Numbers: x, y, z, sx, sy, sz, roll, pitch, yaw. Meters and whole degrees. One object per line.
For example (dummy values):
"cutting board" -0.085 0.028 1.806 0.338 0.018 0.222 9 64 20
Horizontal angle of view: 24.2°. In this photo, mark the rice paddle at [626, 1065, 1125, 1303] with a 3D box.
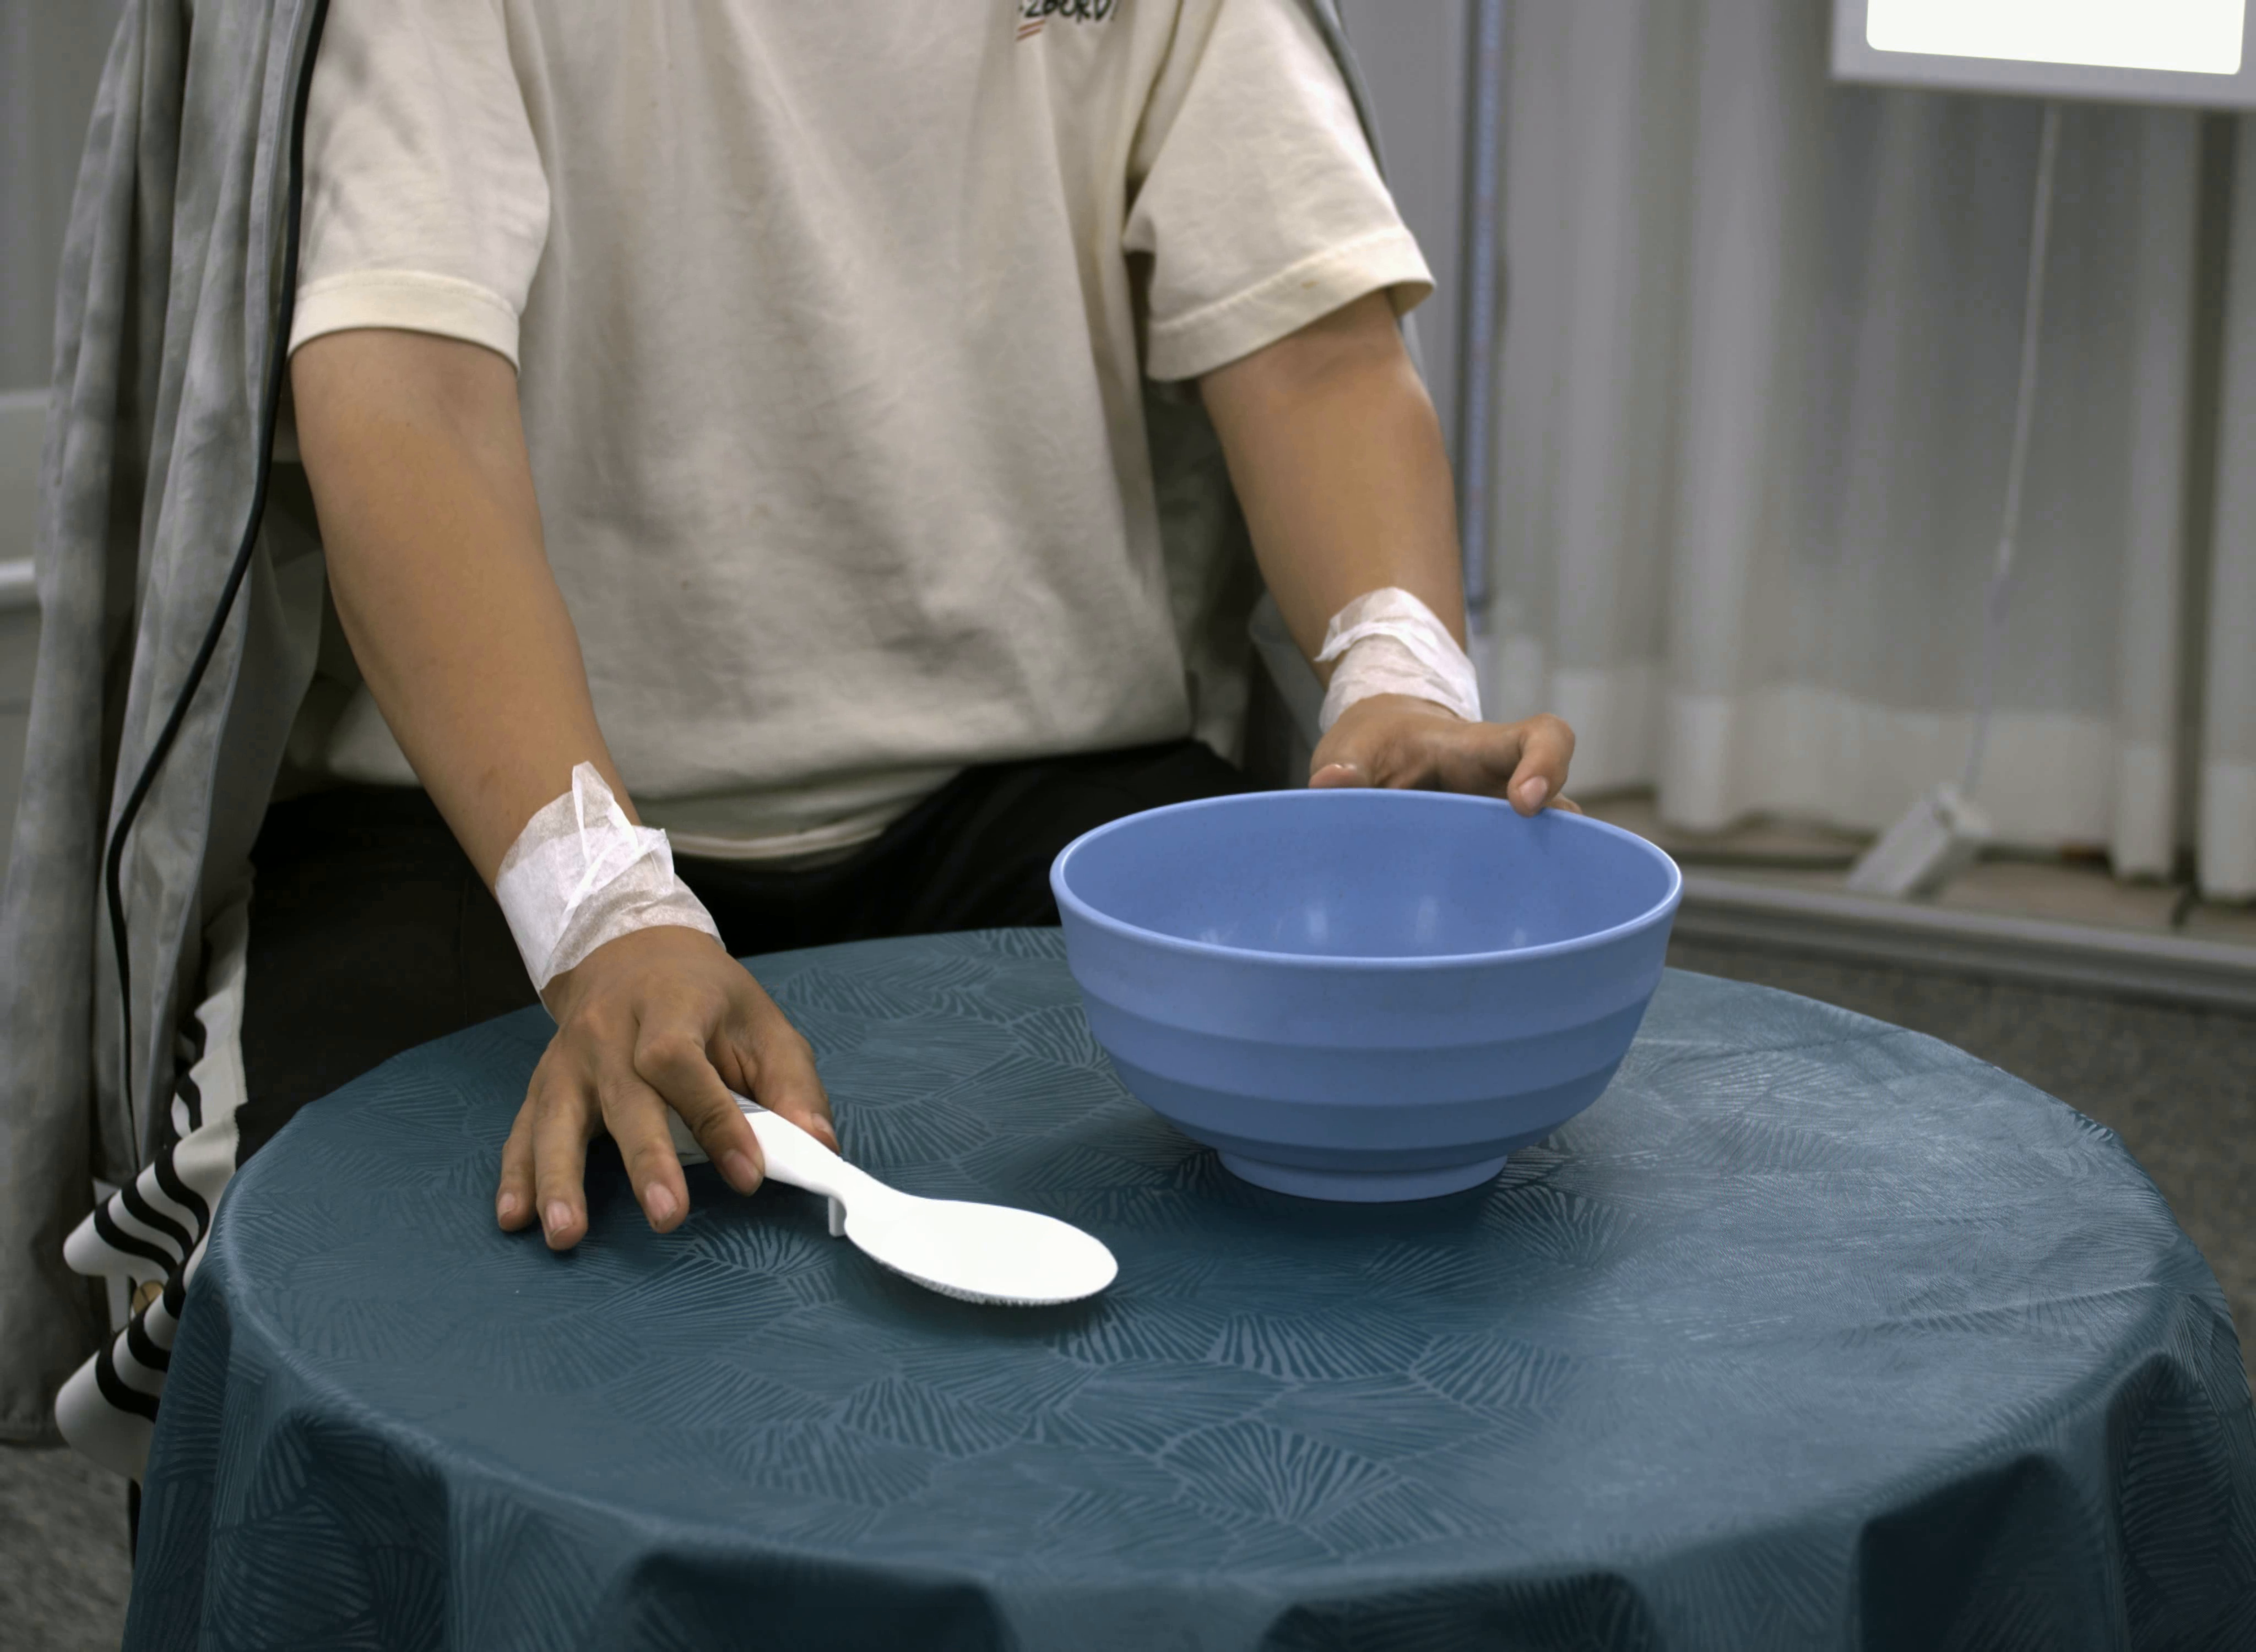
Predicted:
"rice paddle" -0.078 0.109 1.576 0.069 0.029 0.202 -10 18 -41

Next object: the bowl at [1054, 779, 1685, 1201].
"bowl" 0.074 0.057 1.647 0.196 0.096 0.195 1 17 0
